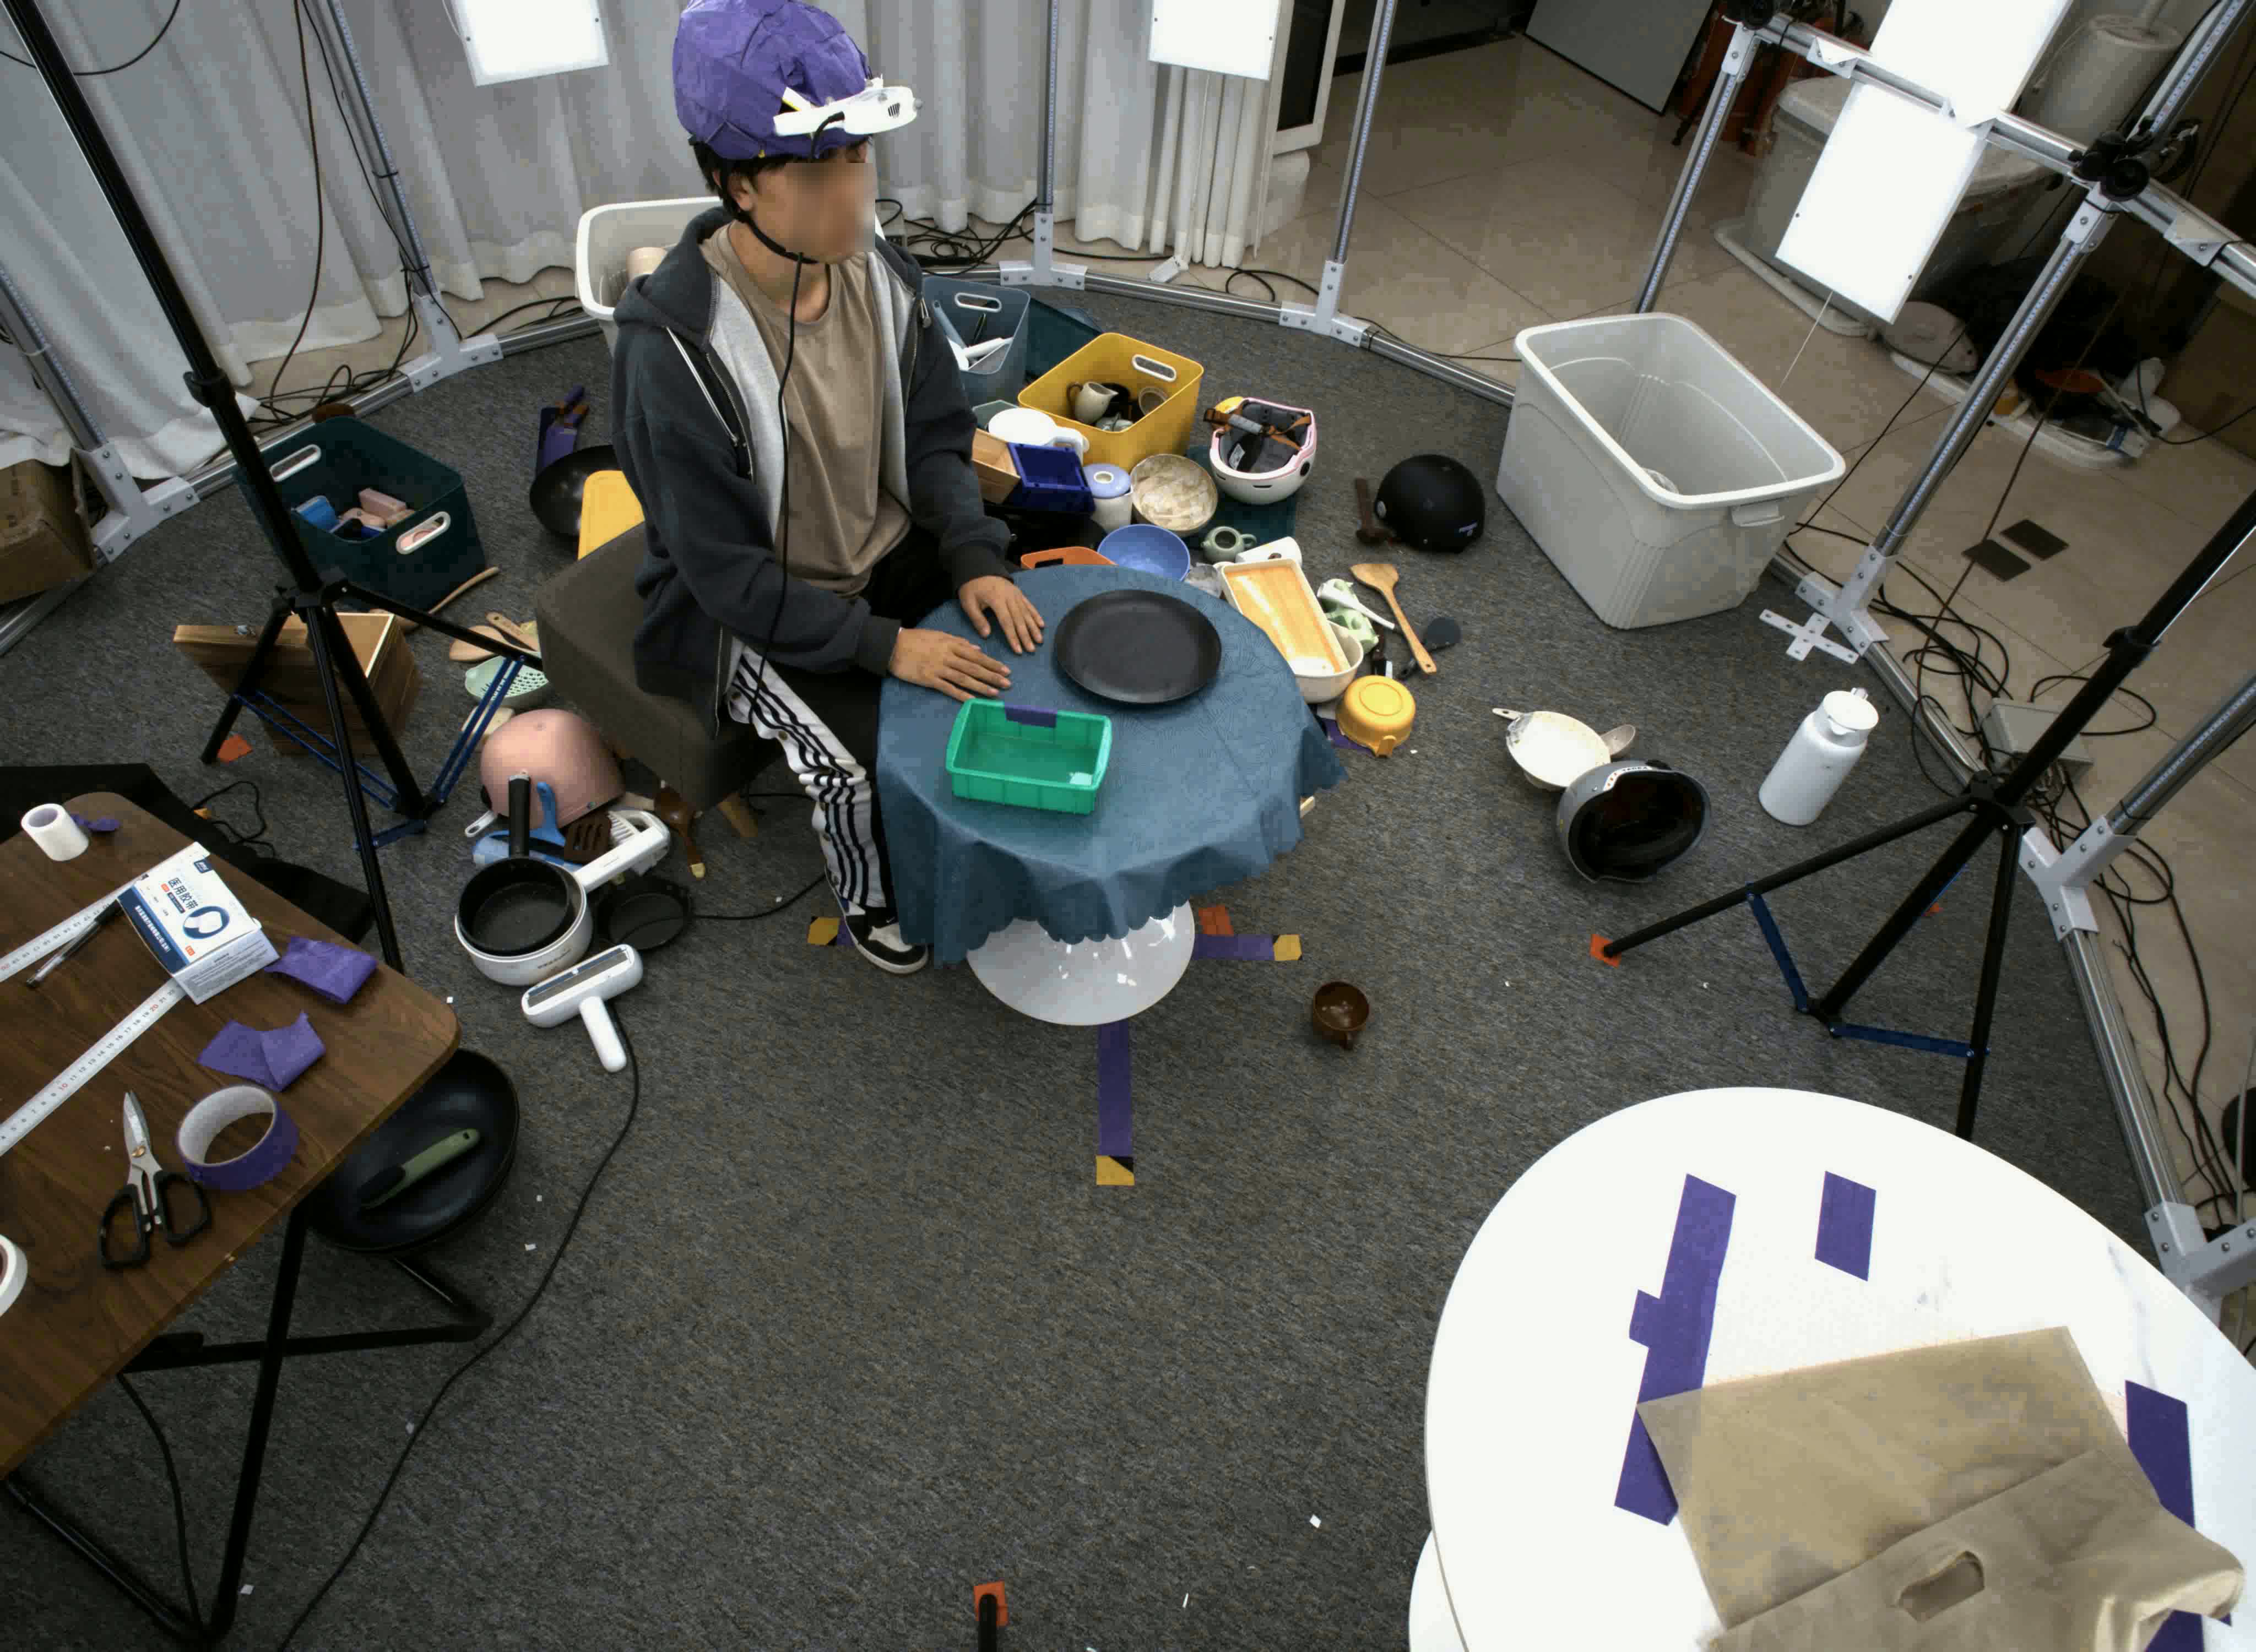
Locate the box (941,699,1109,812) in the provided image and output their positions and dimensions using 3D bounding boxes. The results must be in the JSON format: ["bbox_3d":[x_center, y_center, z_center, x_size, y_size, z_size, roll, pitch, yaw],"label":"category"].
[{"bbox_3d":[-0.133,-0.090,1.694,0.210,0.064,0.142,6,47,4],"label":"box"}]

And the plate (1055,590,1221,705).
[{"bbox_3d":[0.014,-0.259,1.878,0.244,0.023,0.250,2,49,-2],"label":"plate"}]
